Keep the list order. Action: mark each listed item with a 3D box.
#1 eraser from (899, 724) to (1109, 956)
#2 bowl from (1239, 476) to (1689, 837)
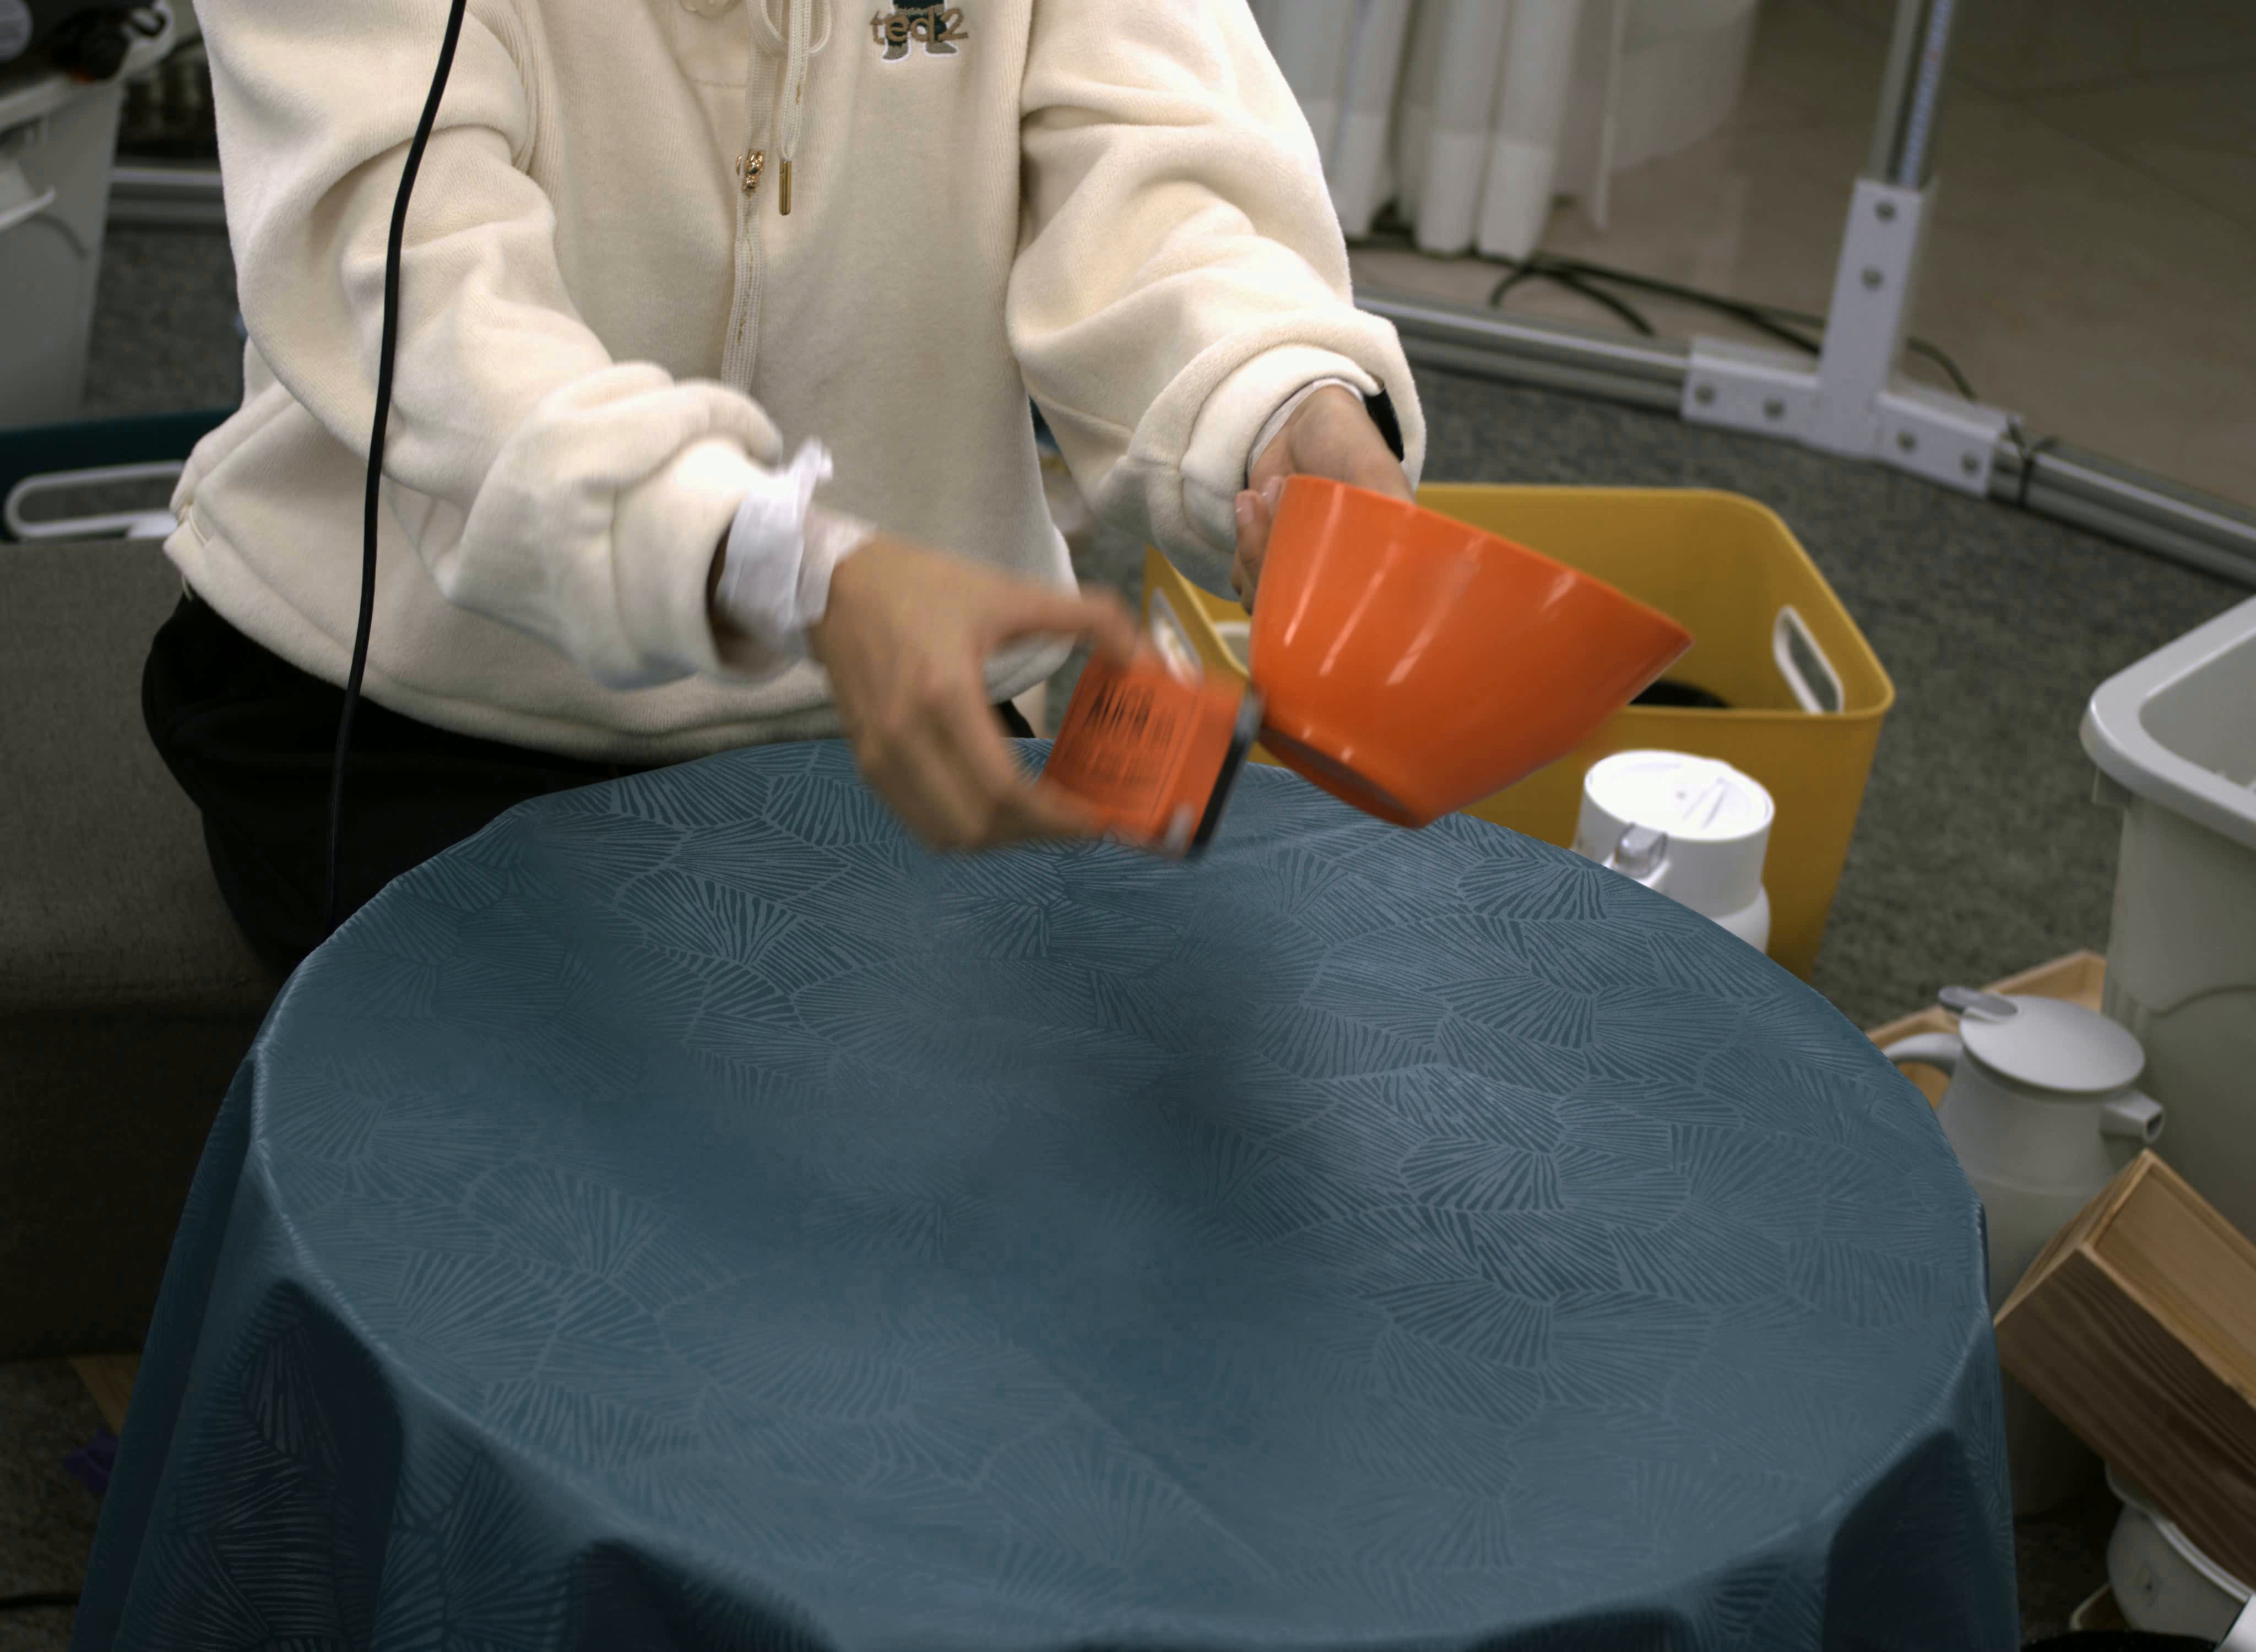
[{"bbox_3d":[-0.042,0.004,1.772,0.023,0.059,0.108,28,2,-21],"label":"eraser"},{"bbox_3d":[0.099,-0.051,1.779,0.148,0.105,0.148,31,-7,4],"label":"bowl"}]
